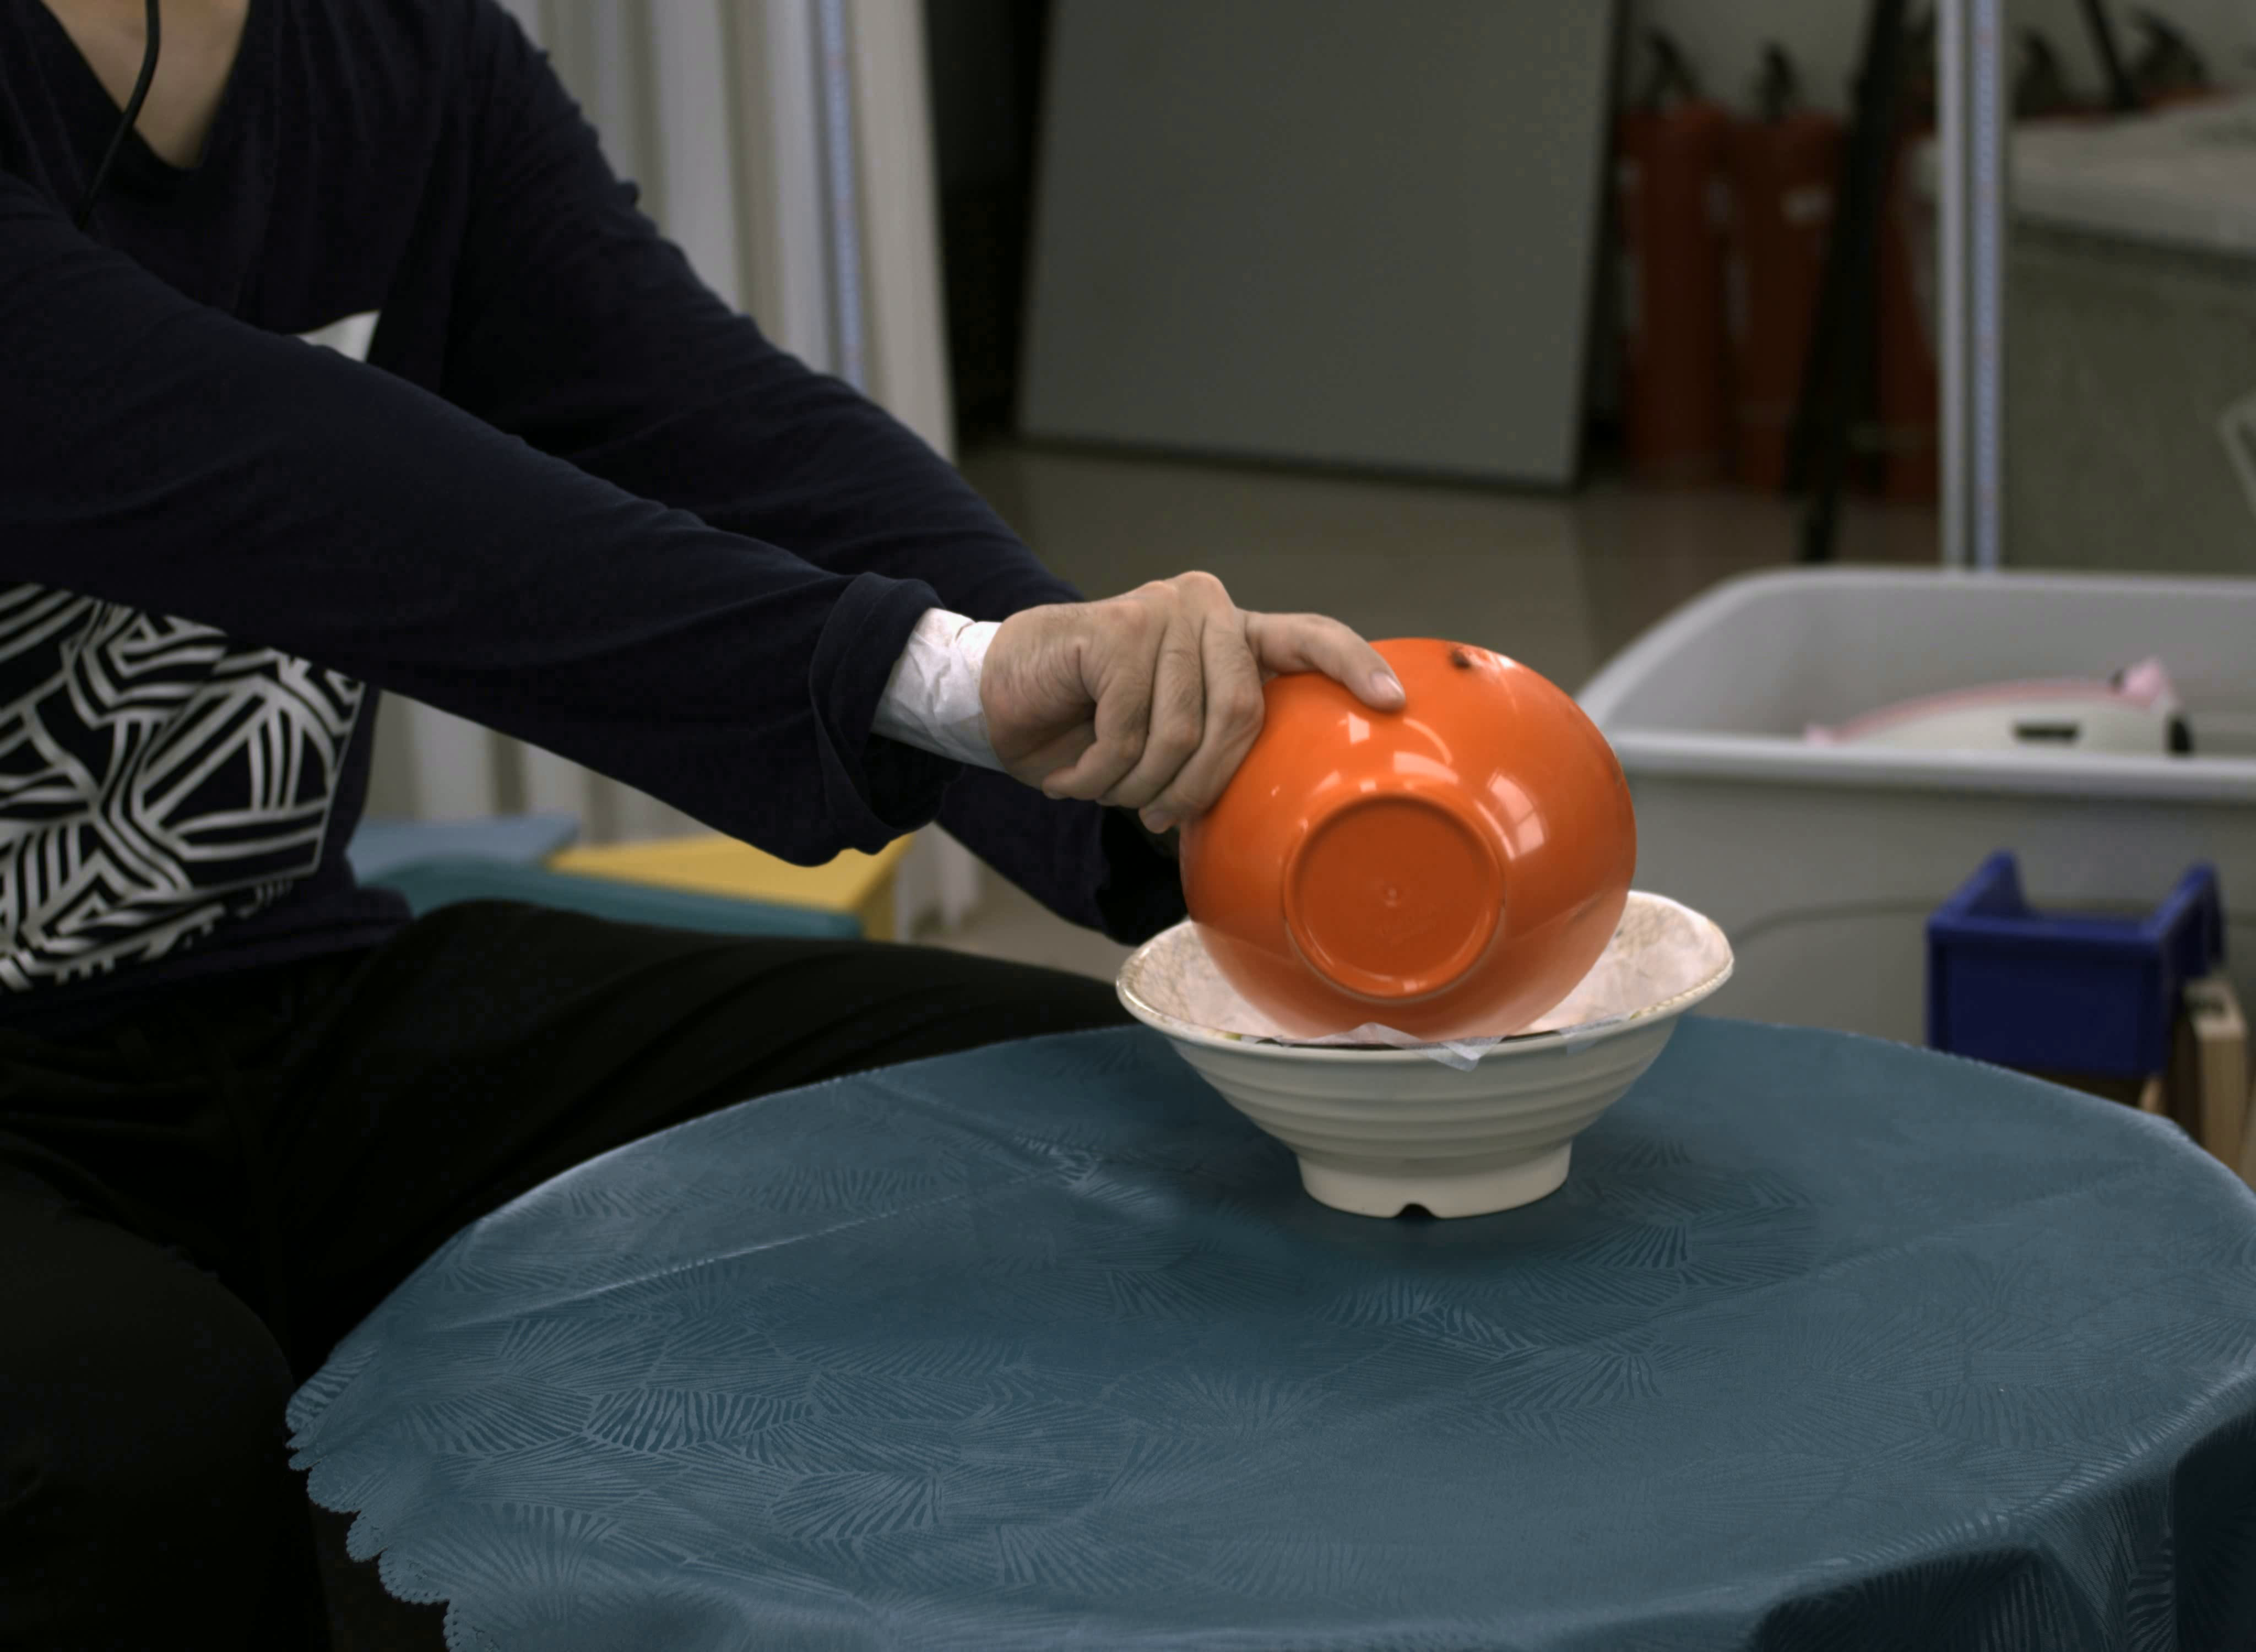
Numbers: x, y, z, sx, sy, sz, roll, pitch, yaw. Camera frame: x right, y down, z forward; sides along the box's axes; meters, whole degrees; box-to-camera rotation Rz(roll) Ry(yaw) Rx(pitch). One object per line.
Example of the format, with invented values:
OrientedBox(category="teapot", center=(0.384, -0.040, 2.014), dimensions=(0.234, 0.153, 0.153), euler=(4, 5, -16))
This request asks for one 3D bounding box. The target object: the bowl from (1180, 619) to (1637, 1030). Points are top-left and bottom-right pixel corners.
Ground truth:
OrientedBox(category="bowl", center=(0.088, 0.014, 1.677), dimensions=(0.146, 0.150, 0.104), euler=(-2, 13, 4))

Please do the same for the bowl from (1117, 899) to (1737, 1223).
OrientedBox(category="bowl", center=(0.099, 0.080, 1.752), dimensions=(0.201, 0.079, 0.204), euler=(-4, 12, 0))
